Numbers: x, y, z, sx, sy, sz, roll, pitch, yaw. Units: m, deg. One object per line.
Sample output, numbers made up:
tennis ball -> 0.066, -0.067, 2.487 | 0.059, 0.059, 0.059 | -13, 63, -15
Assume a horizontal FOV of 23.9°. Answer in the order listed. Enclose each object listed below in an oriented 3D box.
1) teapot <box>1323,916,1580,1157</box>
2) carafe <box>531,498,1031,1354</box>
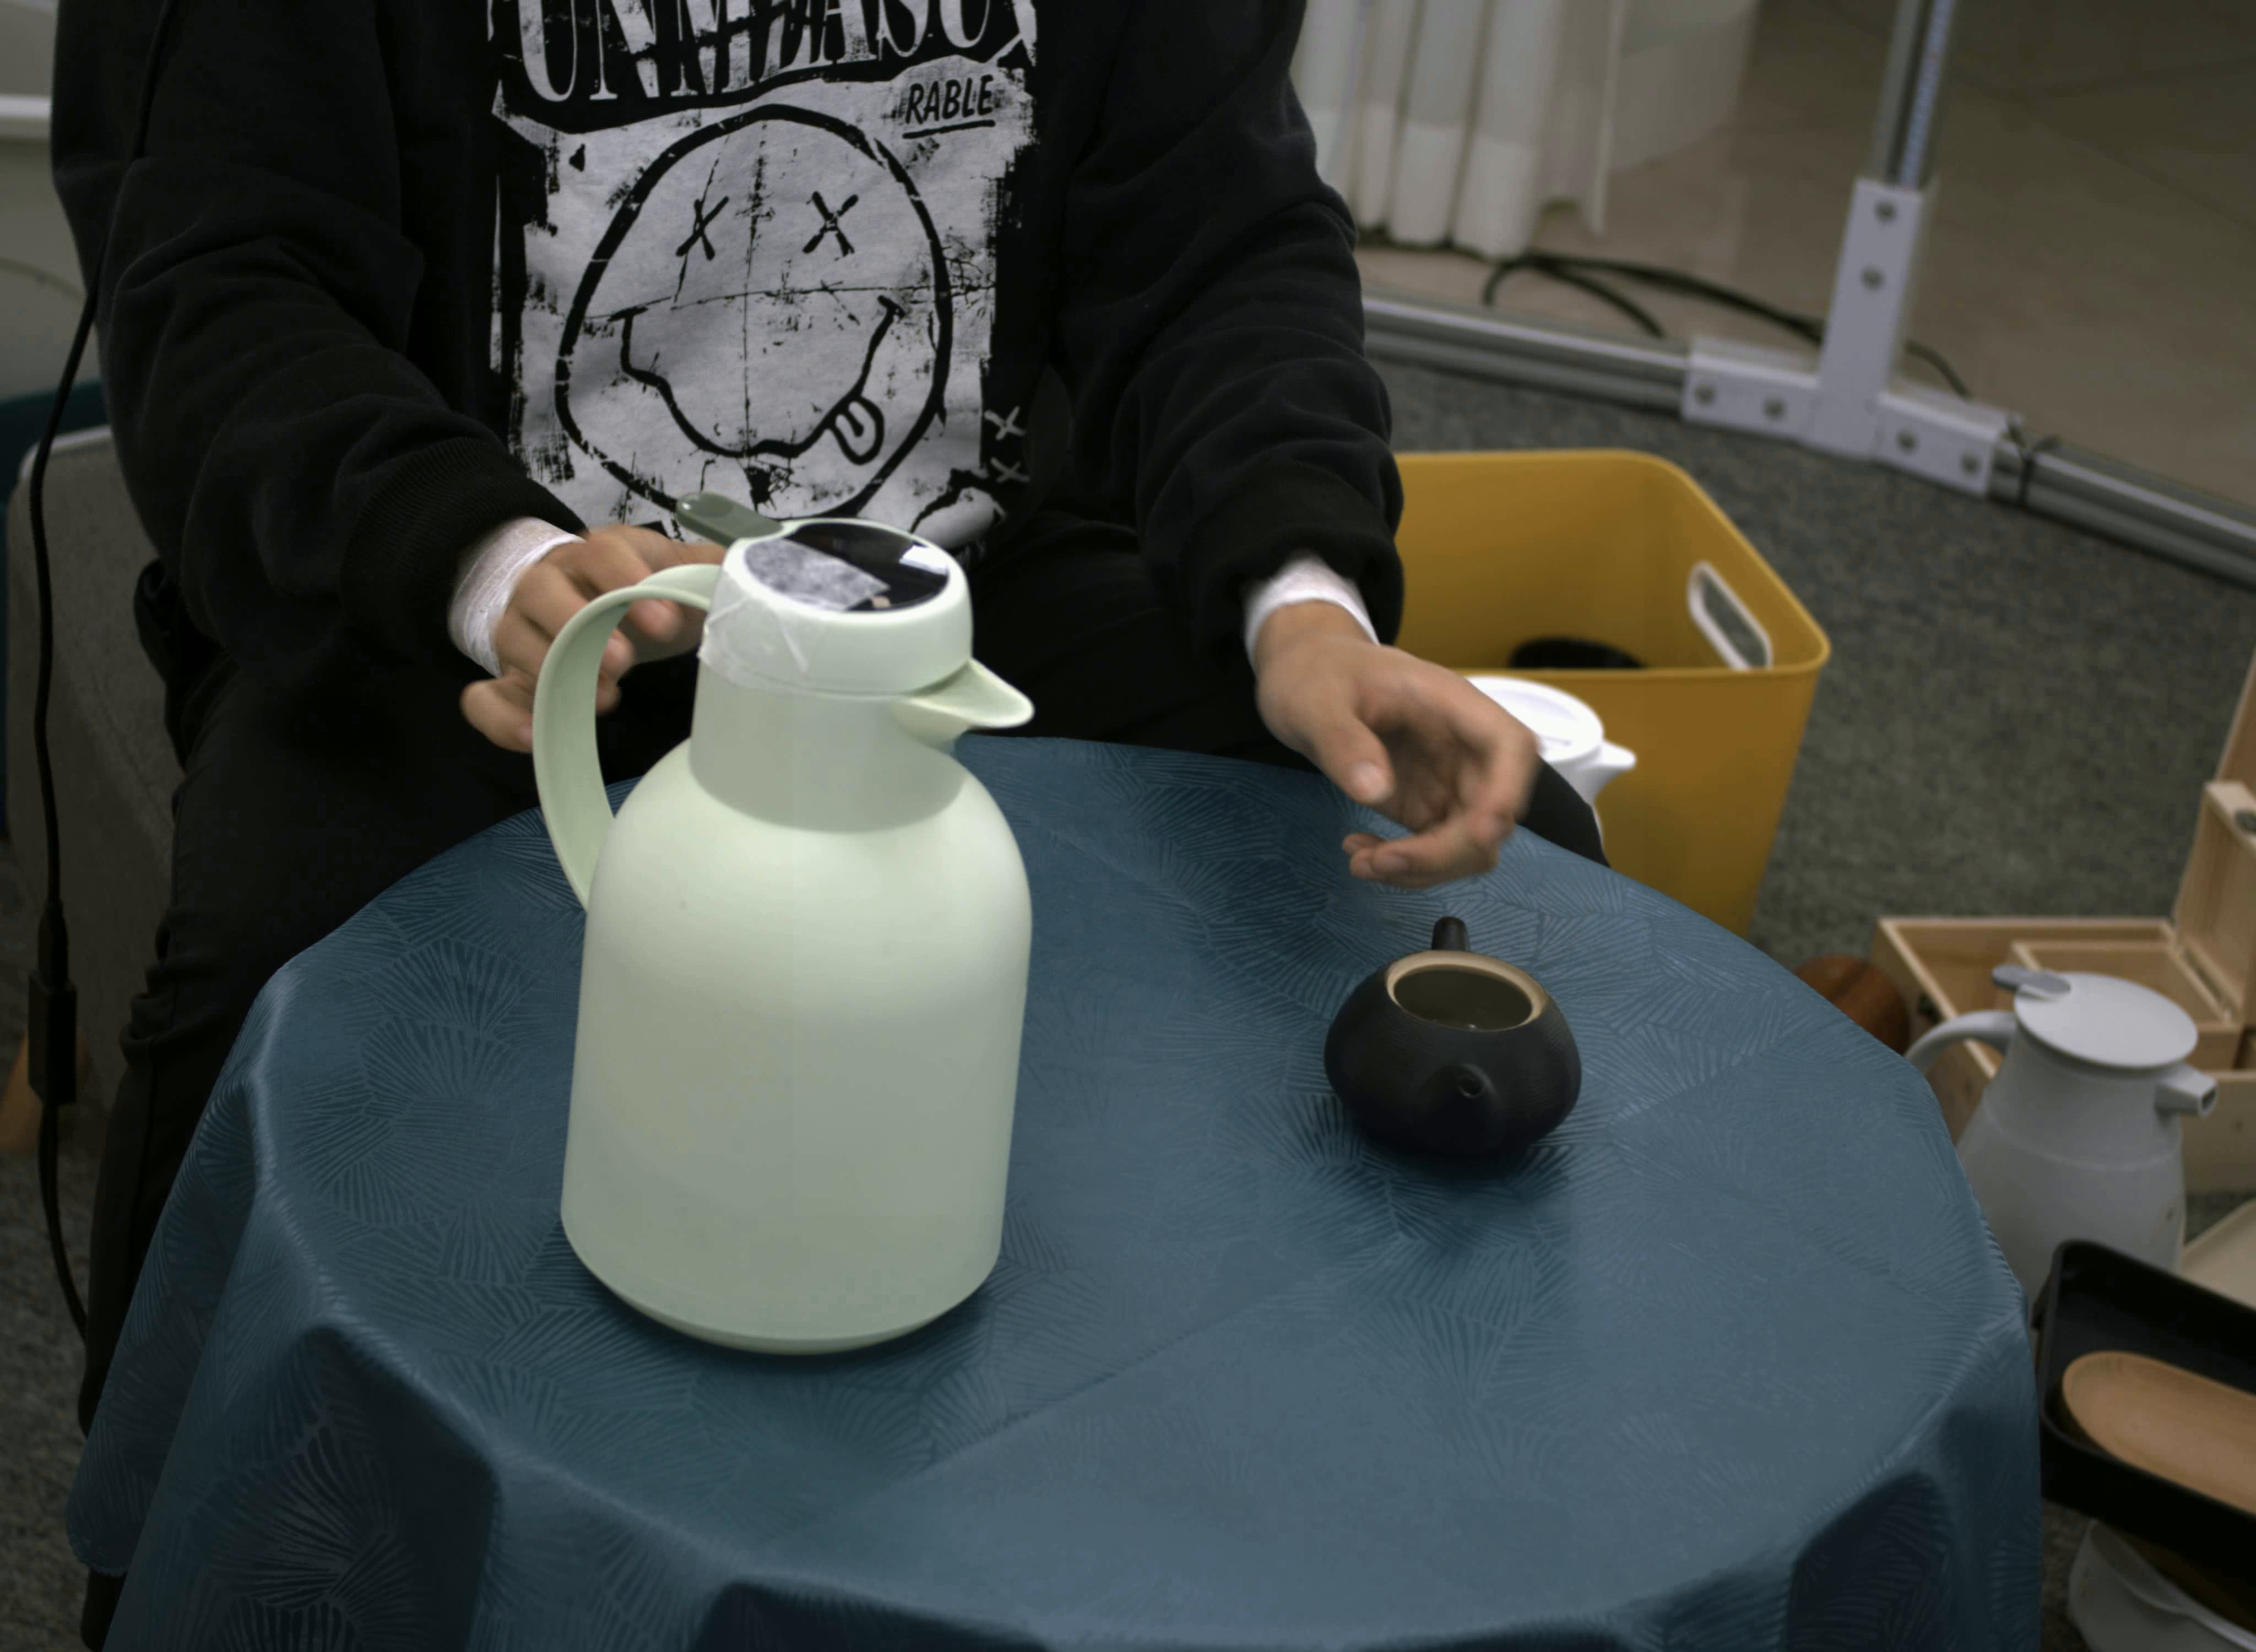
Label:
teapot -> 0.114, 0.079, 1.859 | 0.090, 0.053, 0.134 | 7, 27, -3
carafe -> -0.113, 0.025, 1.698 | 0.188, 0.256, 0.144 | 20, 30, 31
